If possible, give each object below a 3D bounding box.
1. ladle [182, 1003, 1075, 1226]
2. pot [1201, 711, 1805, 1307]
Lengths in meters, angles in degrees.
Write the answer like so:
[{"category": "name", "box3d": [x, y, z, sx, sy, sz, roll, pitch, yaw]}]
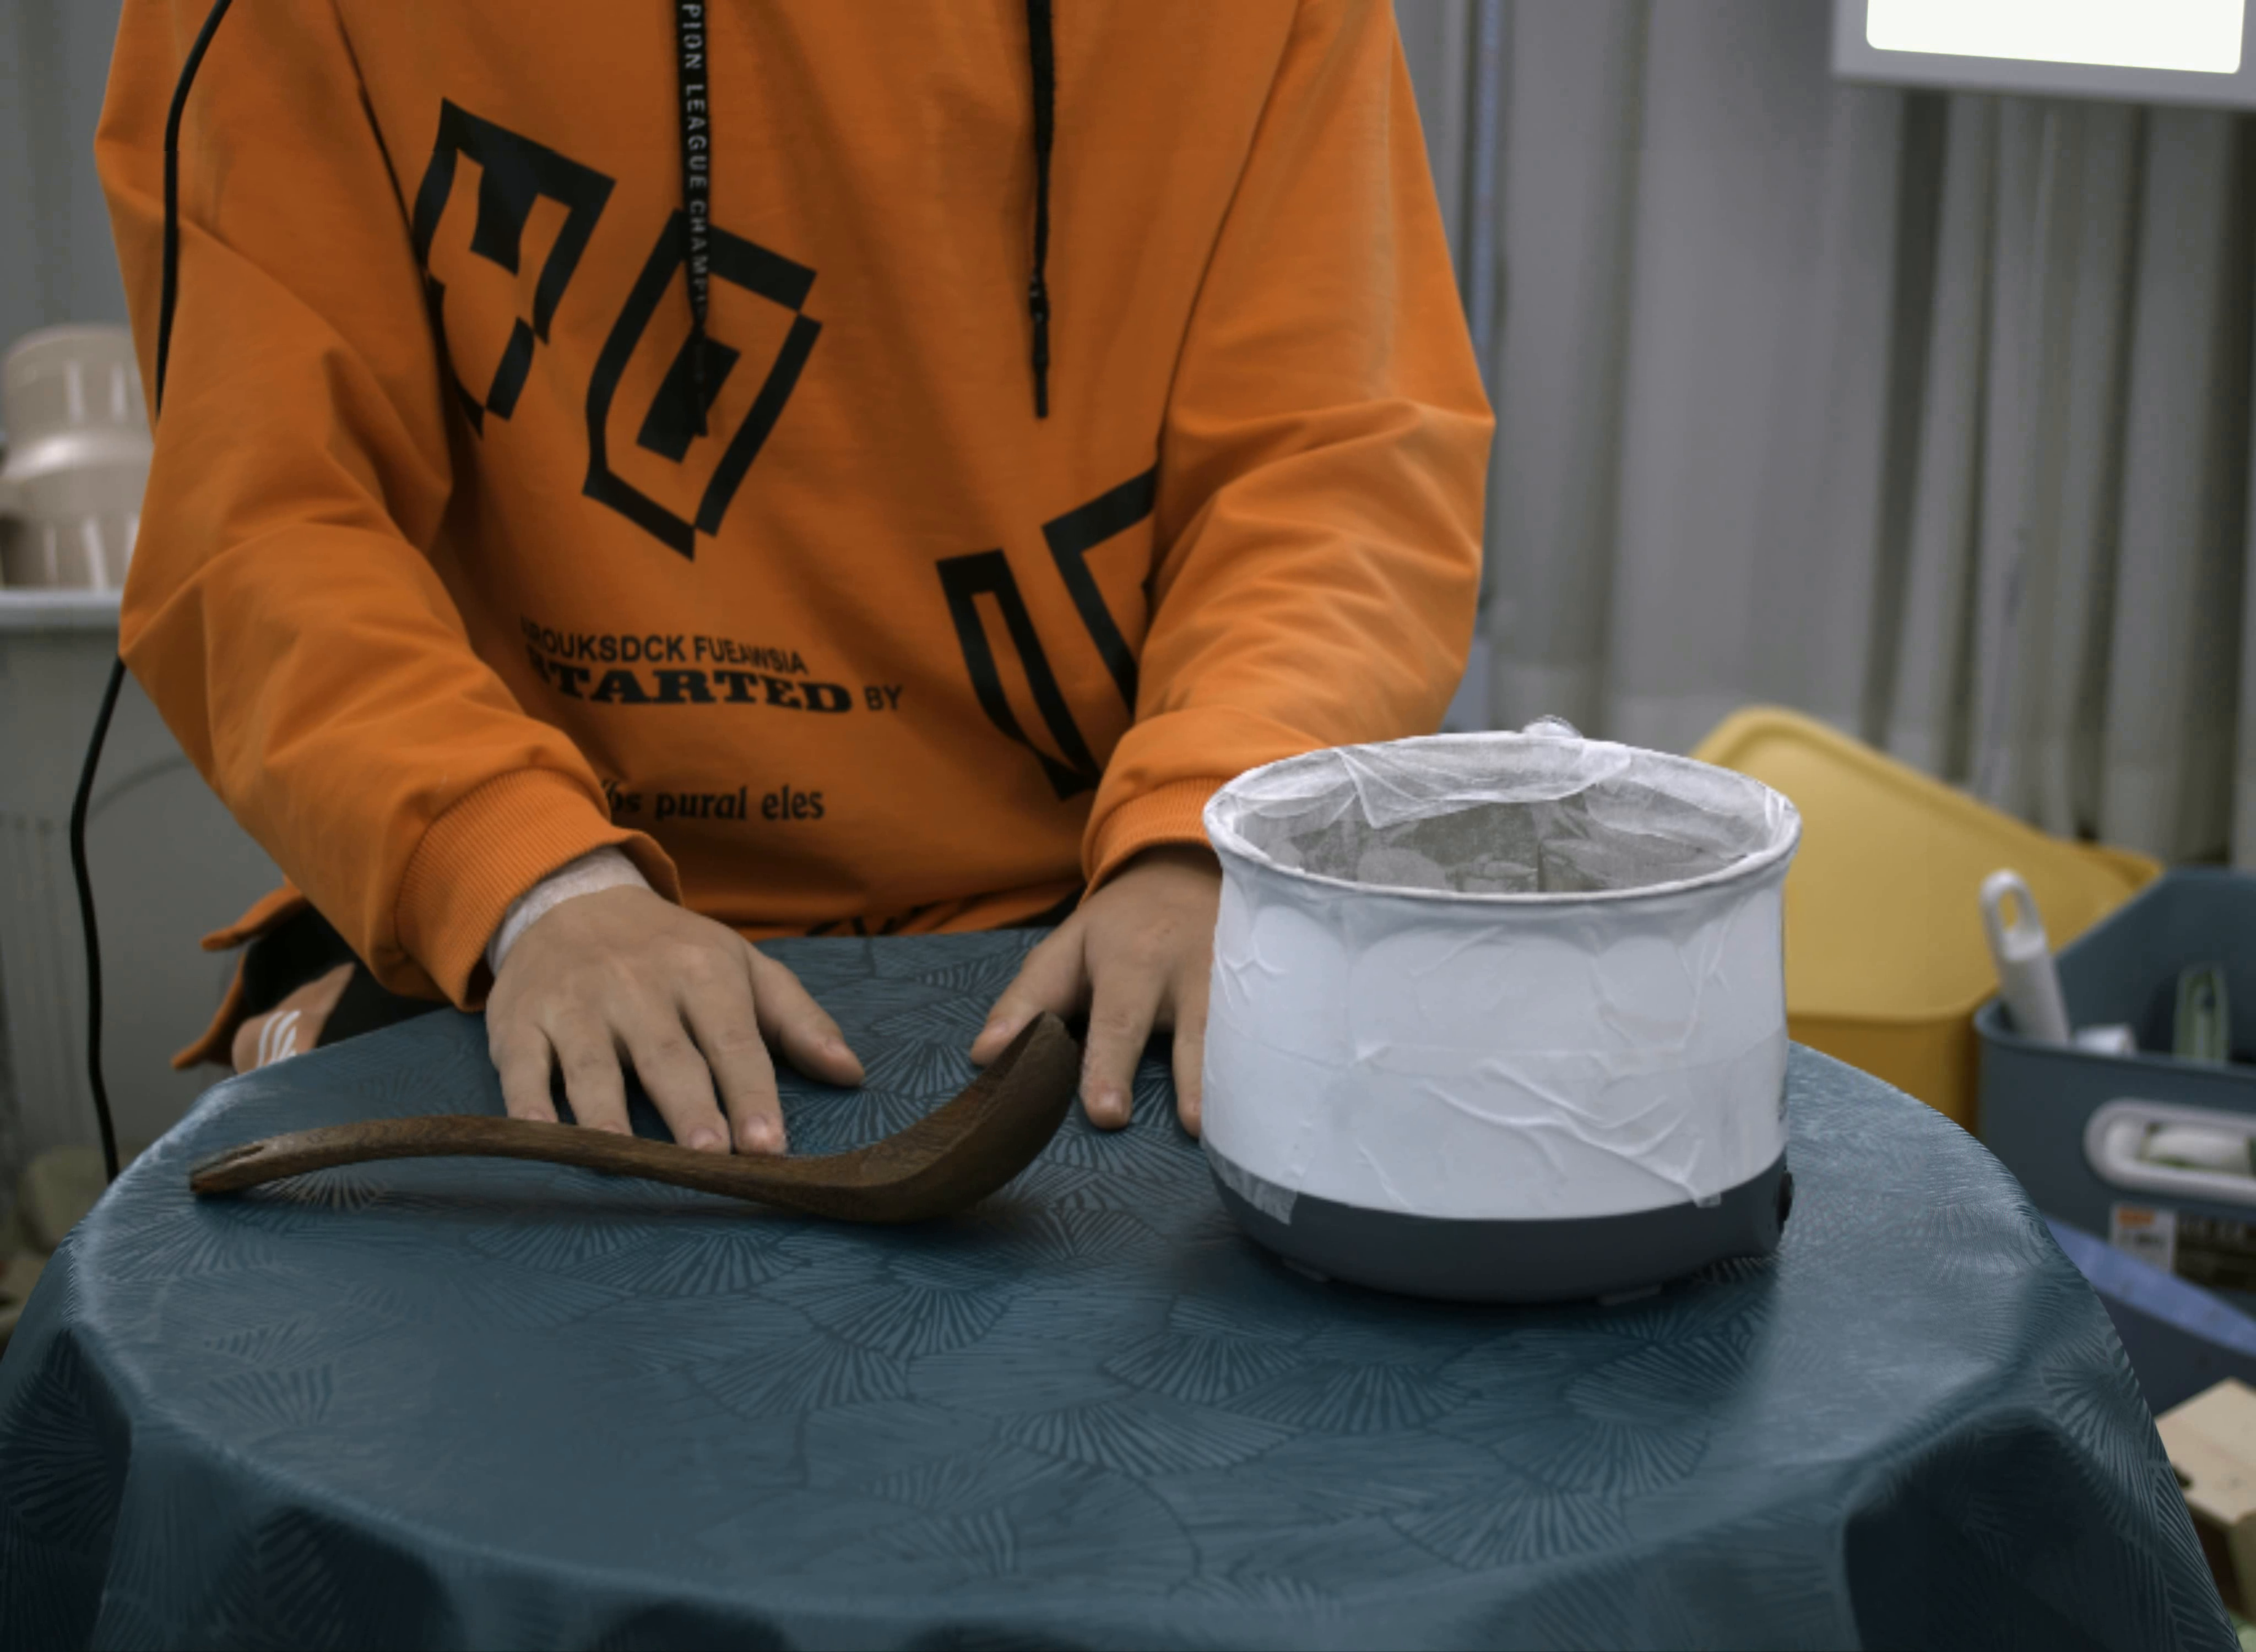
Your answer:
[{"category": "ladle", "box3d": [-0.152, 0.082, 1.595, 0.273, 0.072, 0.076, 3, 11, 5]}, {"category": "pot", "box3d": [0.115, 0.049, 1.595, 0.177, 0.138, 0.233, 4, 17, 10]}]
